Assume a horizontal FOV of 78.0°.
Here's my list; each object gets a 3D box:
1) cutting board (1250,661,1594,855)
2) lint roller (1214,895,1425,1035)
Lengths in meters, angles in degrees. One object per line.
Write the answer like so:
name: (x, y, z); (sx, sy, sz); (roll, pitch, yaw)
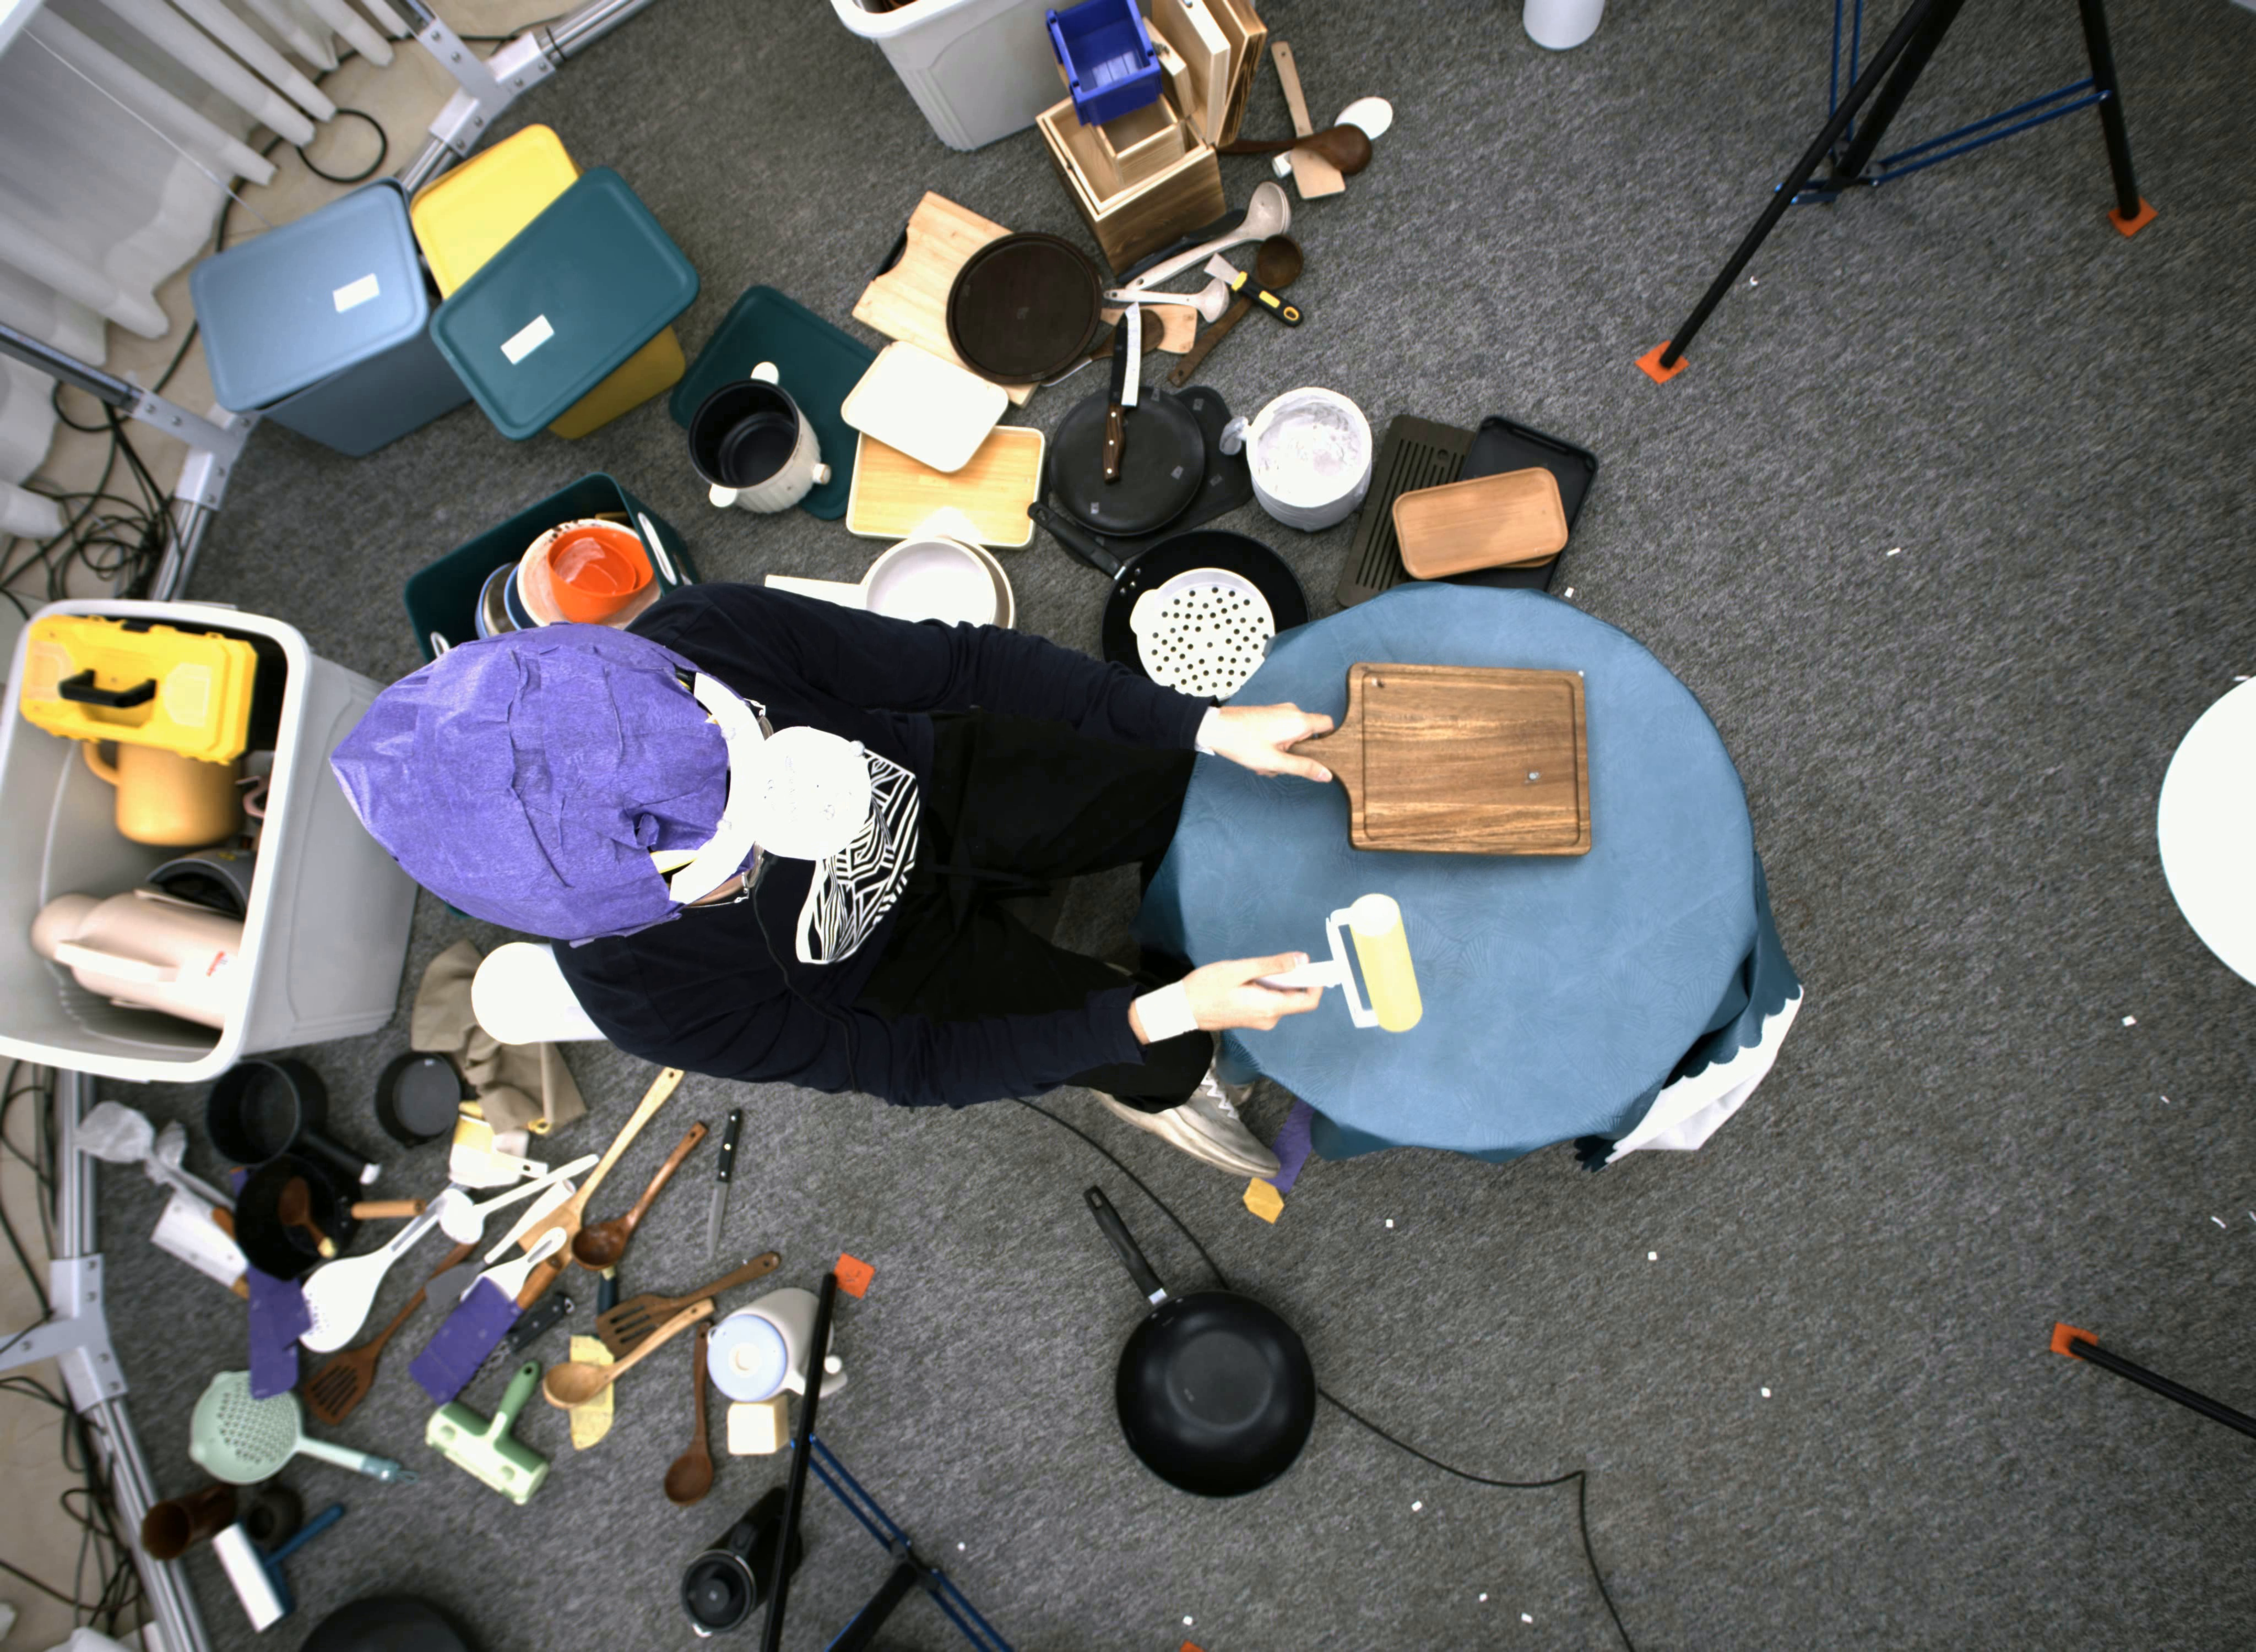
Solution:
cutting board: (0.300, -0.073, 1.406); (0.352, 0.023, 0.199); (1, 83, -3)
lint roller: (0.178, 0.152, 1.323); (0.193, 0.178, 0.050); (-16, 45, 9)
